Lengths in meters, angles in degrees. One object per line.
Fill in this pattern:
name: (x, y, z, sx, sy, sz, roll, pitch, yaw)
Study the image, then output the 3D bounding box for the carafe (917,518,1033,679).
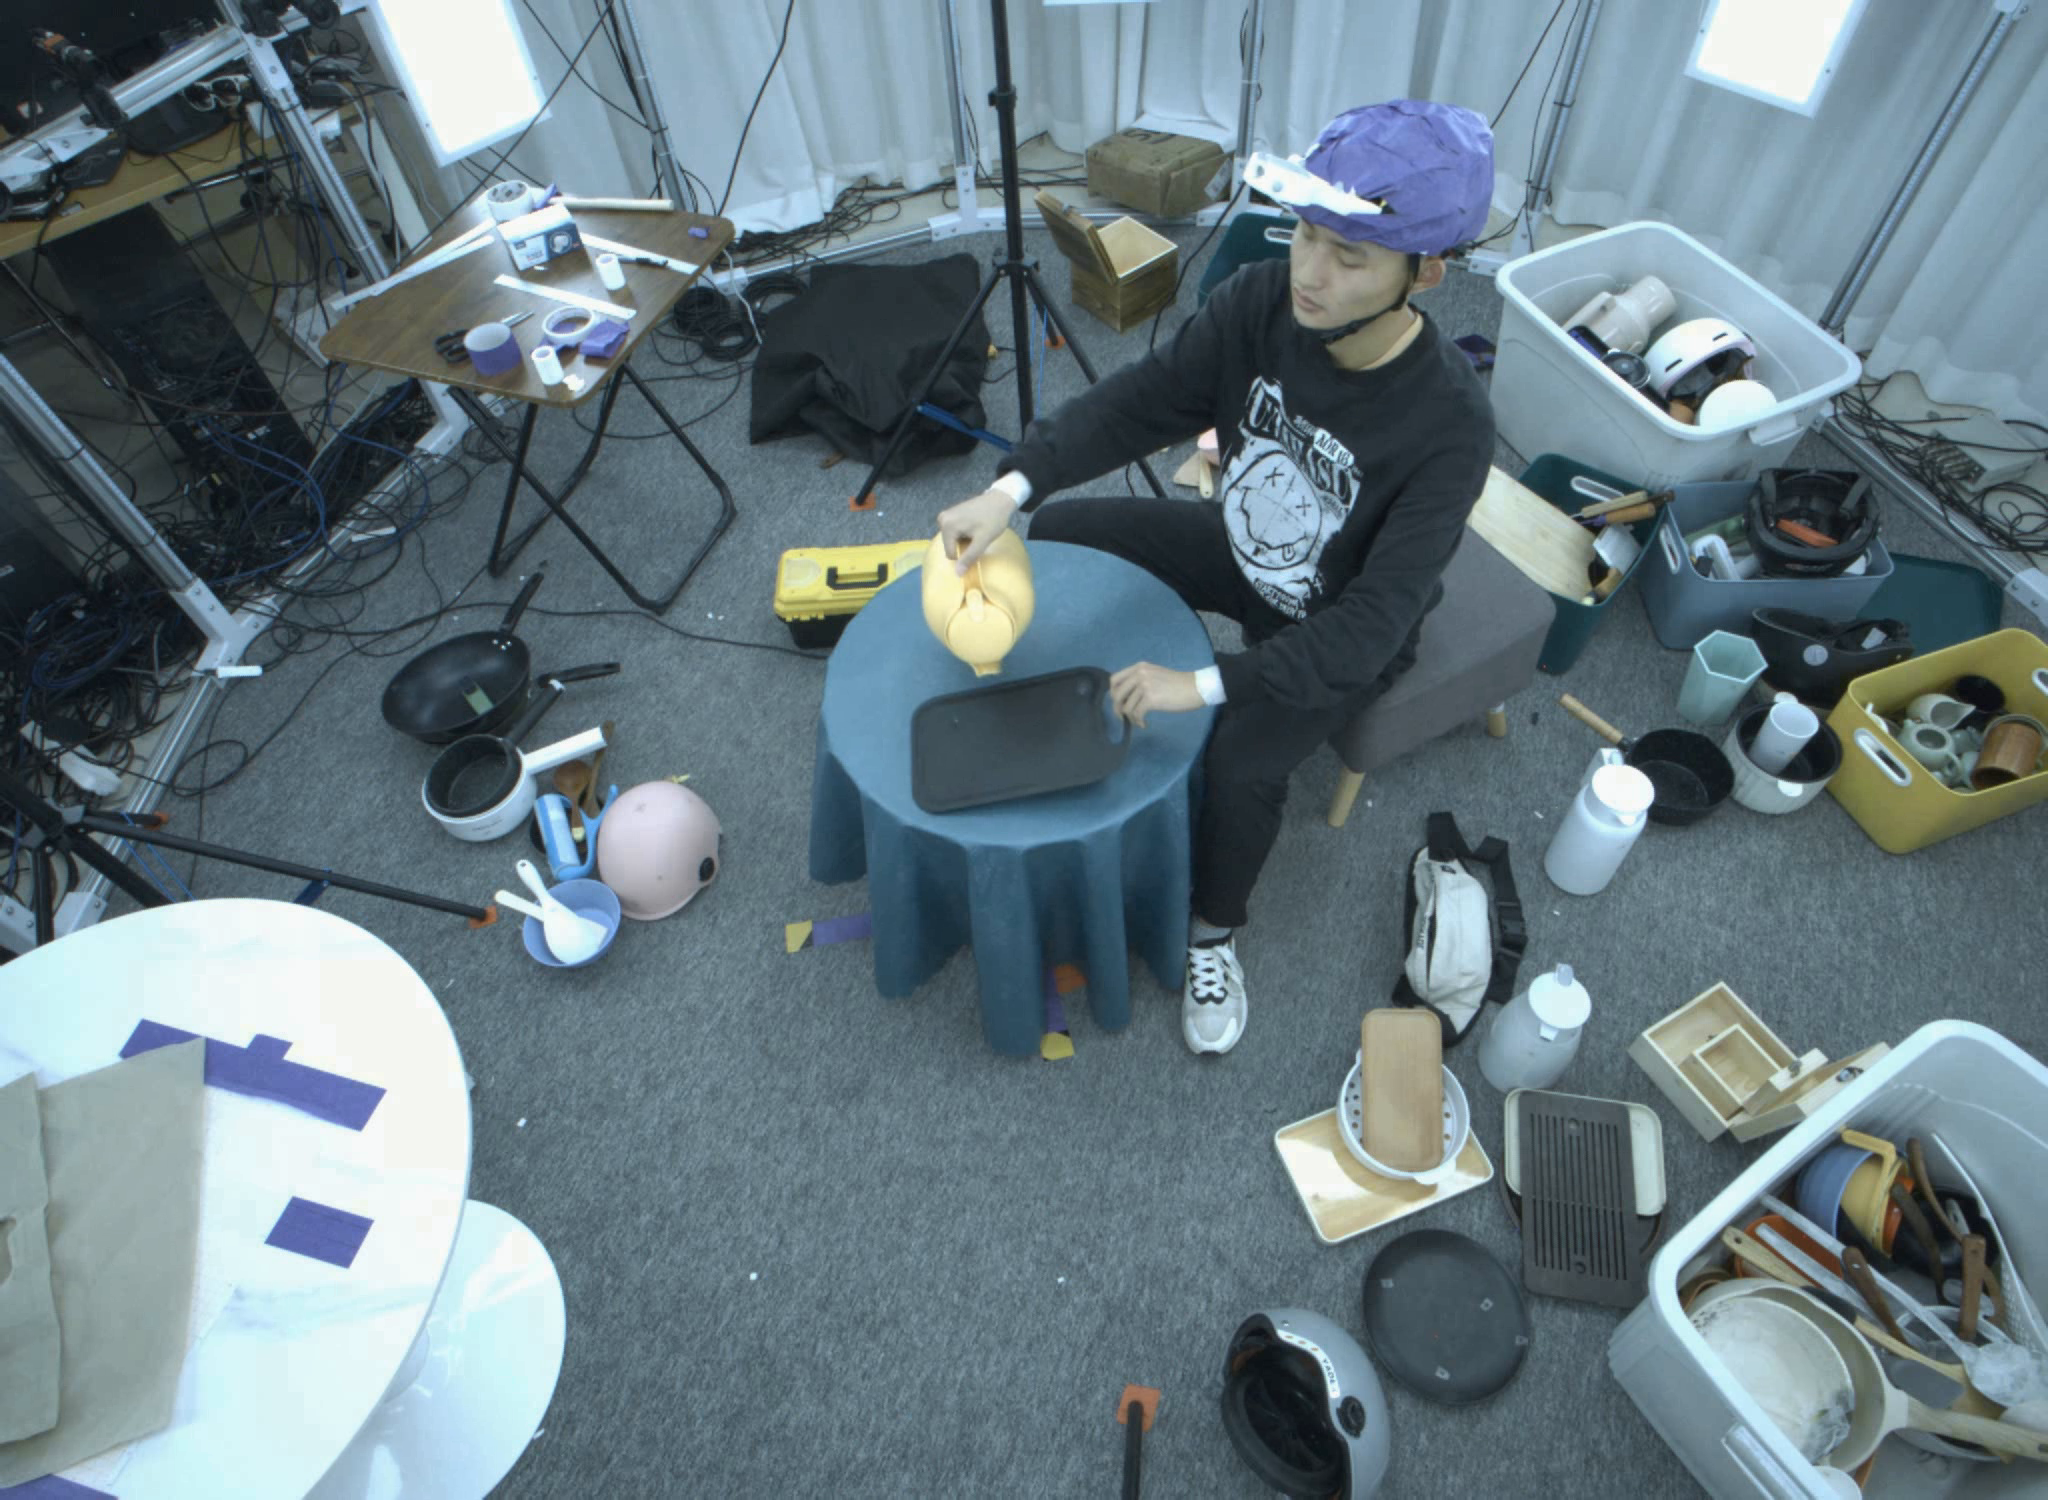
carafe: (-0.069, -0.233, 1.735, 0.164, 0.204, 0.256, -8, 33, -4)

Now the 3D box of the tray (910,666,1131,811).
tray: (-0.008, -0.022, 1.761, 0.324, 0.010, 0.208, -10, 55, 7)
